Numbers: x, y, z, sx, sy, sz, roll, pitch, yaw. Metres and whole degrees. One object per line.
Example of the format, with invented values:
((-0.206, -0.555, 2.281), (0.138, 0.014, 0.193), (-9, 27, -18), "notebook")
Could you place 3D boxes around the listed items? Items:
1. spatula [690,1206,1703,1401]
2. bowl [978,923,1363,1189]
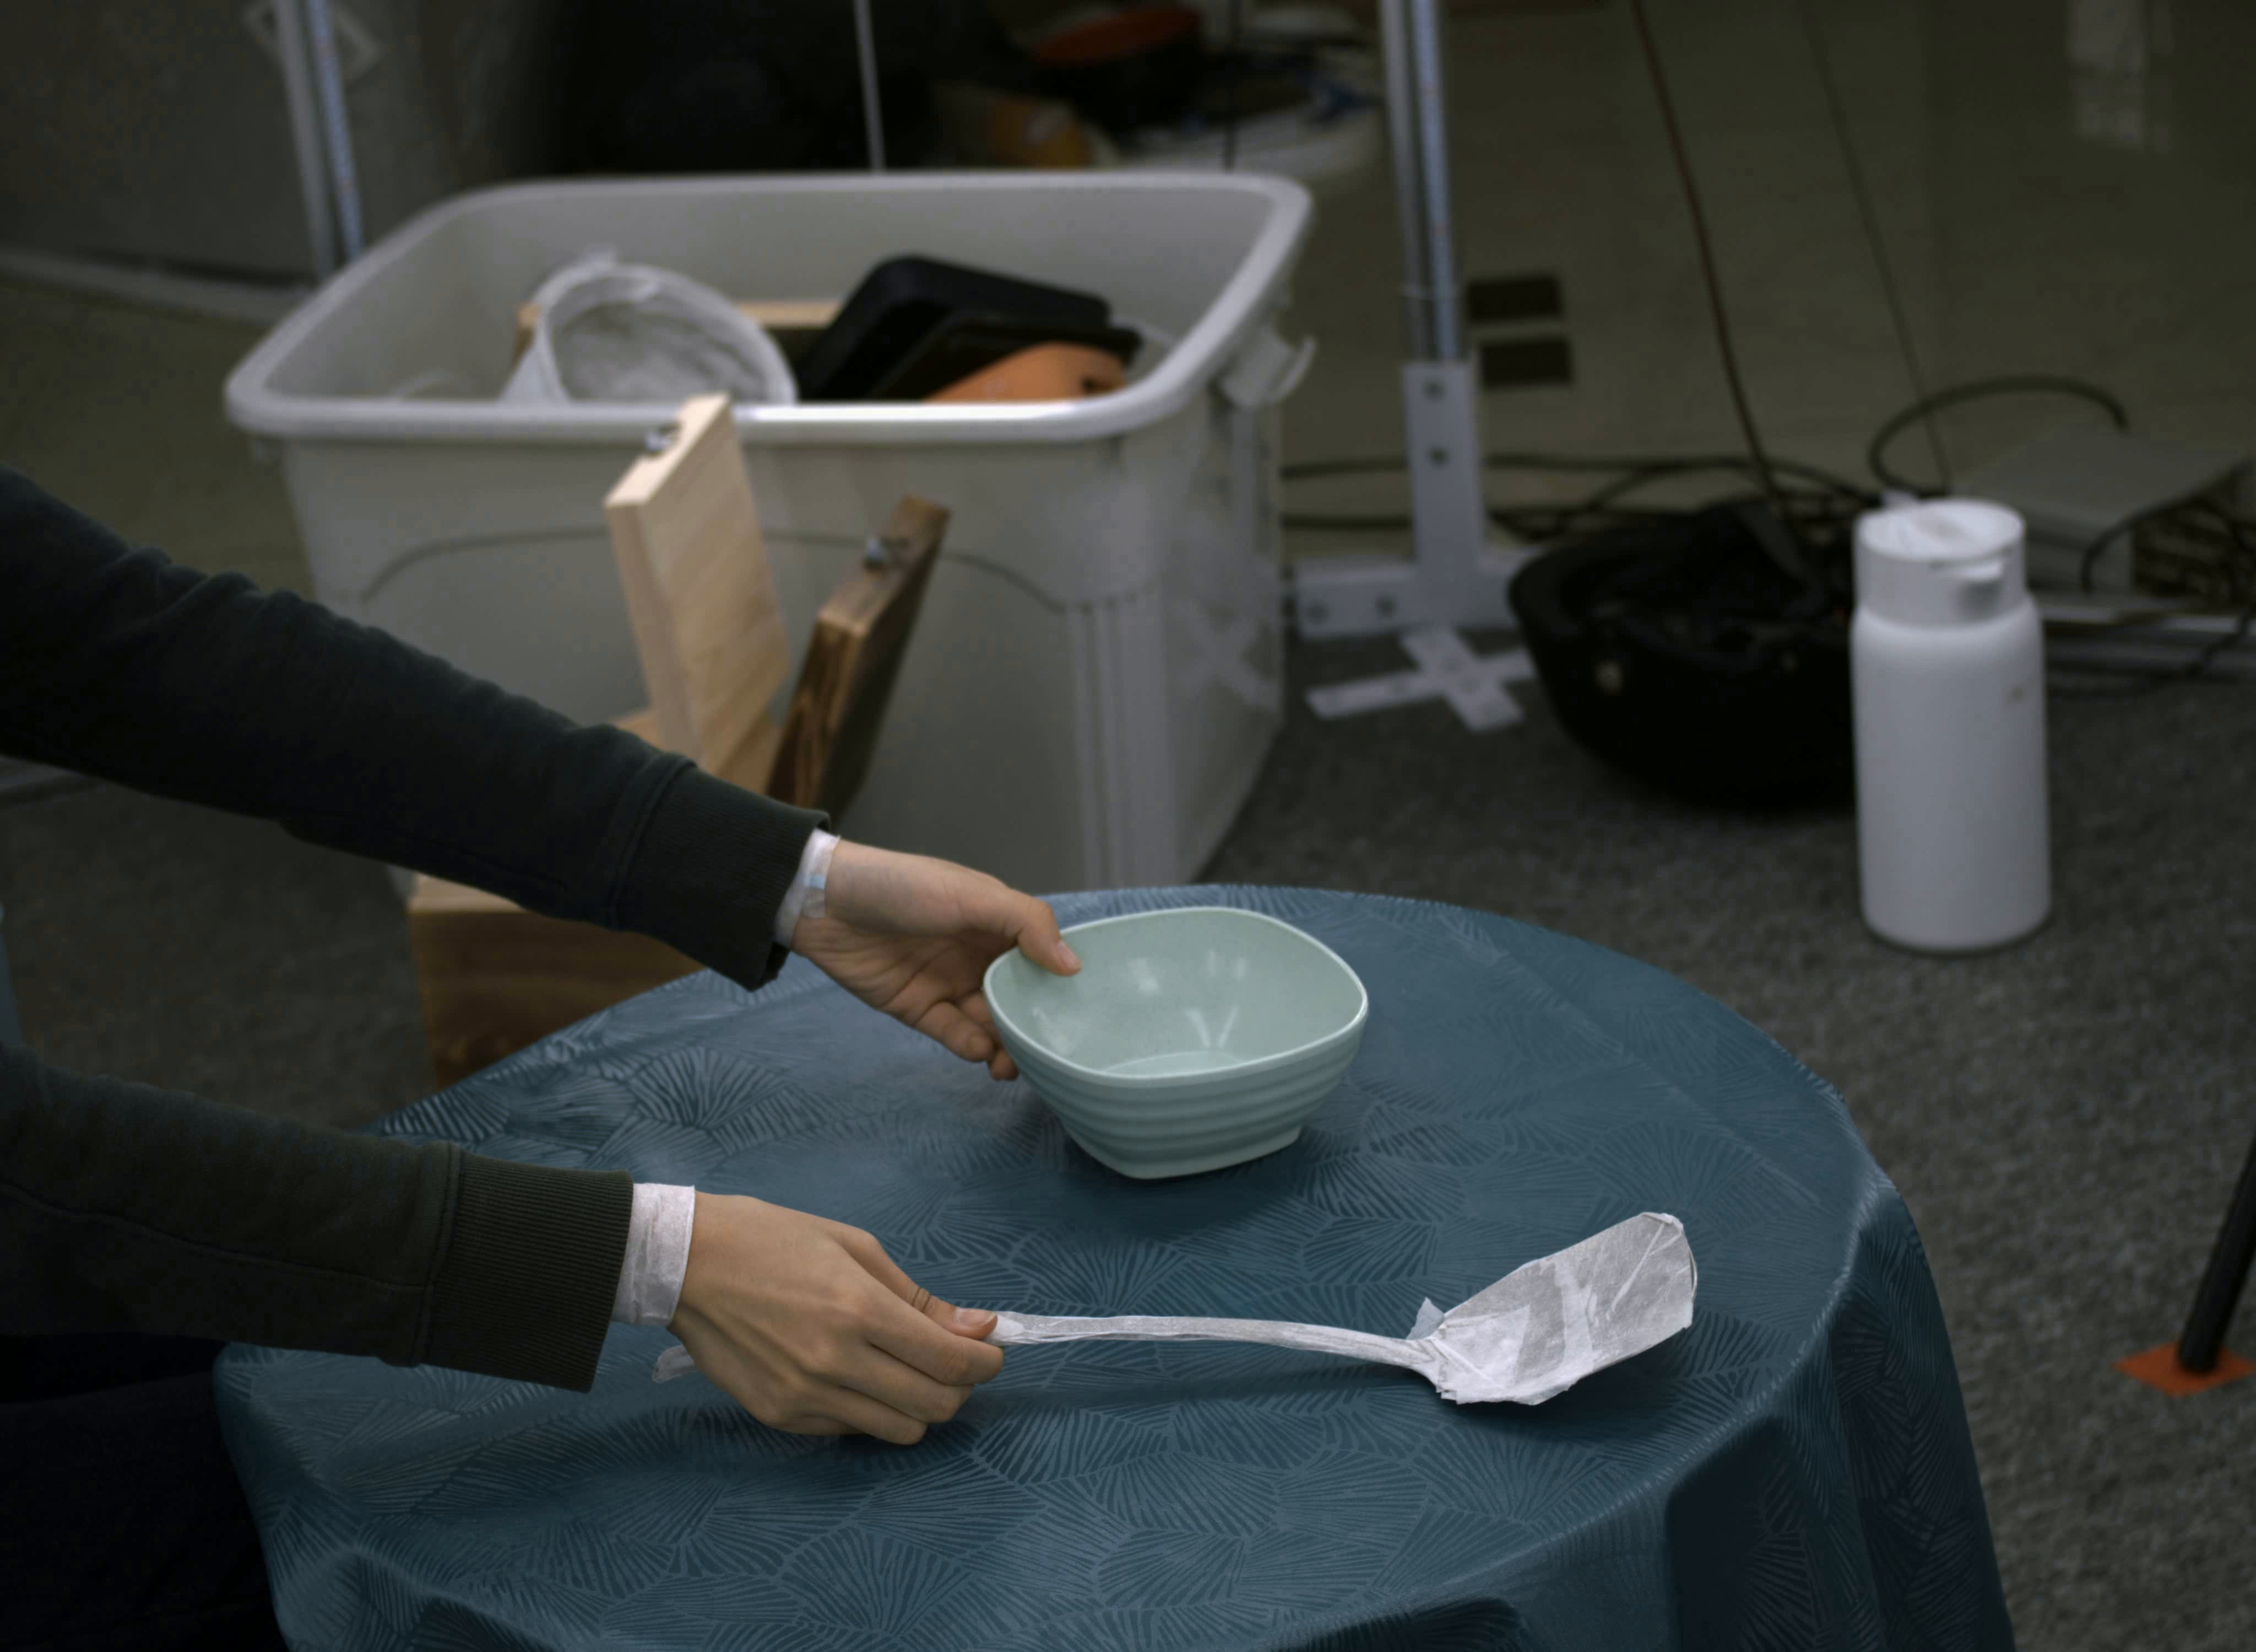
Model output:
((0.021, 0.174, 2.013), (0.364, 0.045, 0.097), (0, 27, 5), "spatula")
((0.017, 0.093, 2.178), (0.151, 0.059, 0.149), (-1, 24, 1), "bowl")
